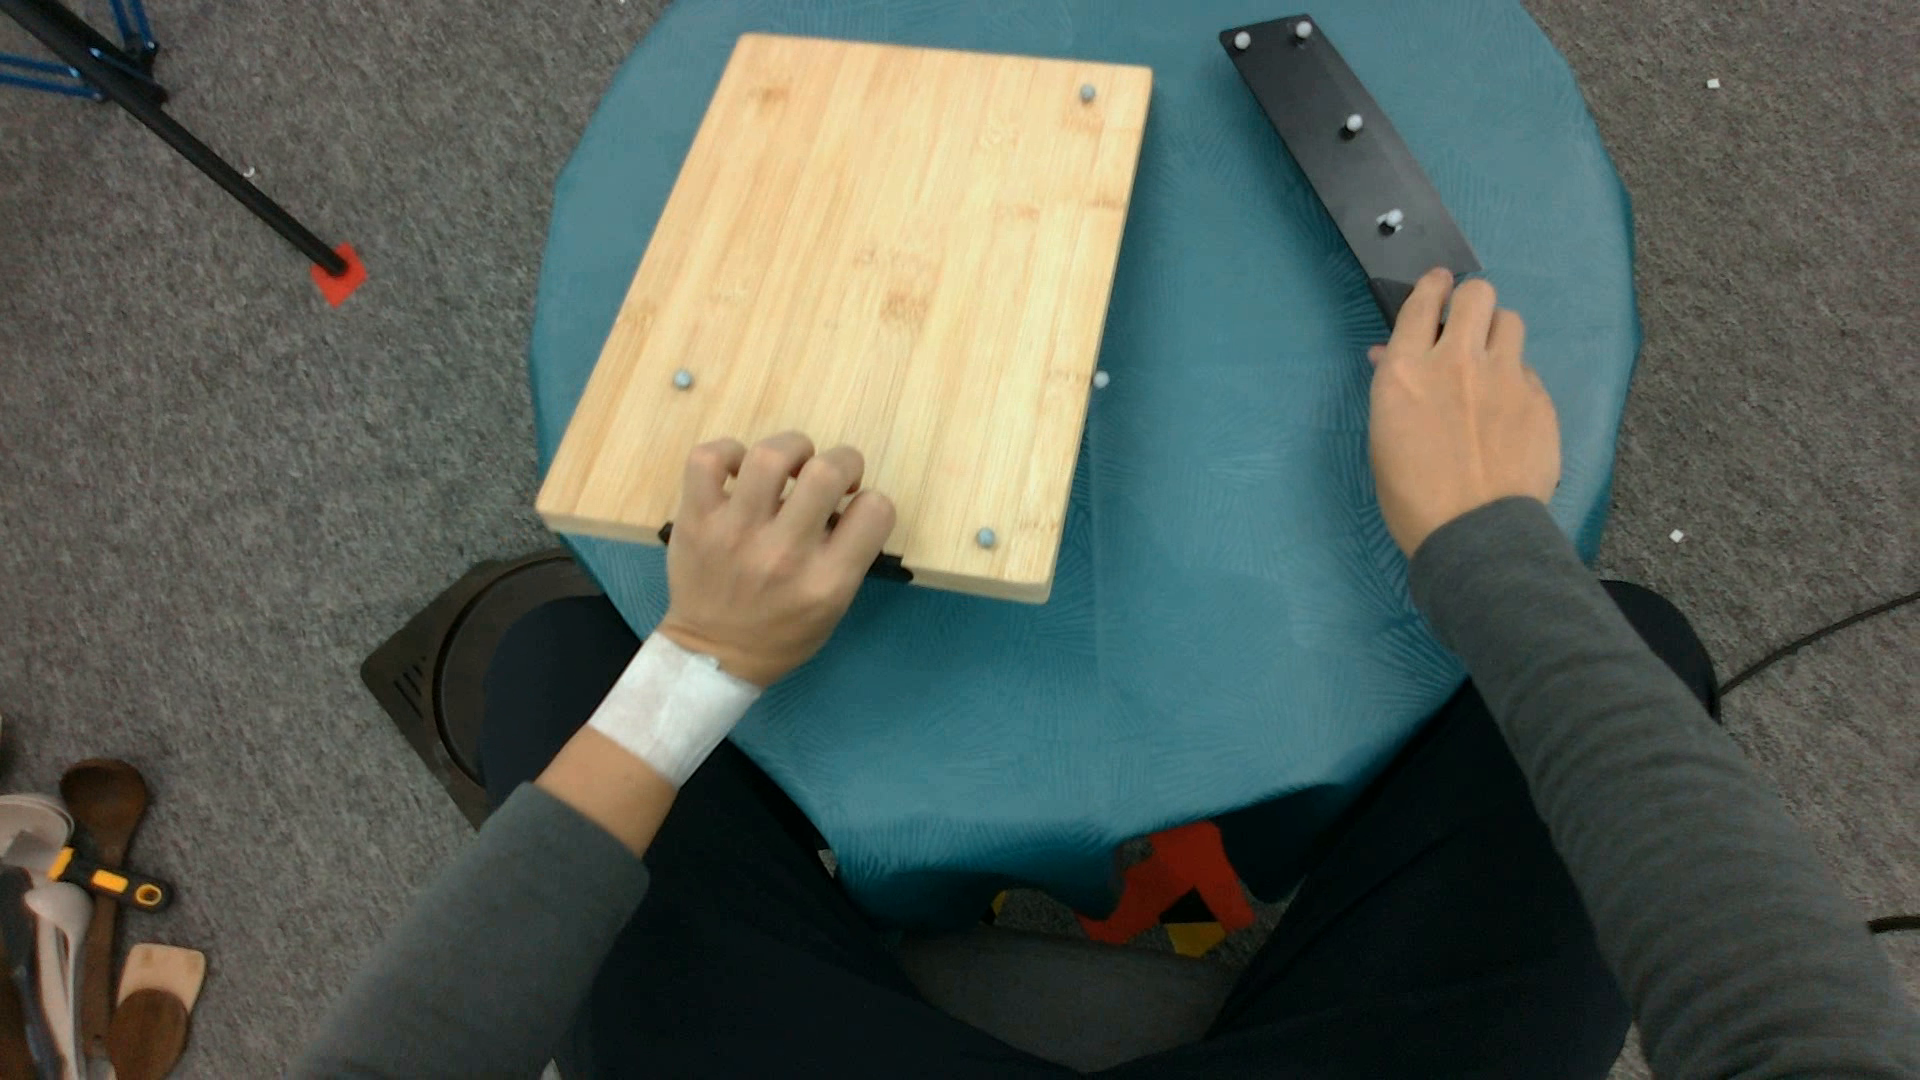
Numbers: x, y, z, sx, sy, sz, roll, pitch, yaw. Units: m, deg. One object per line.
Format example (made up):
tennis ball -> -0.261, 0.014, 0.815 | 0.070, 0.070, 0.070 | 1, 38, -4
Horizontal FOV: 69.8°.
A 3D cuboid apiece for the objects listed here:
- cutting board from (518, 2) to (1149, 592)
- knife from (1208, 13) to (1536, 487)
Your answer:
cutting board -> -0.049, -0.144, 0.706 | 0.250, 0.023, 0.350 | 8, 60, 8
knife -> 0.218, -0.160, 0.716 | 0.081, 0.021, 0.303 | -14, 68, -15
